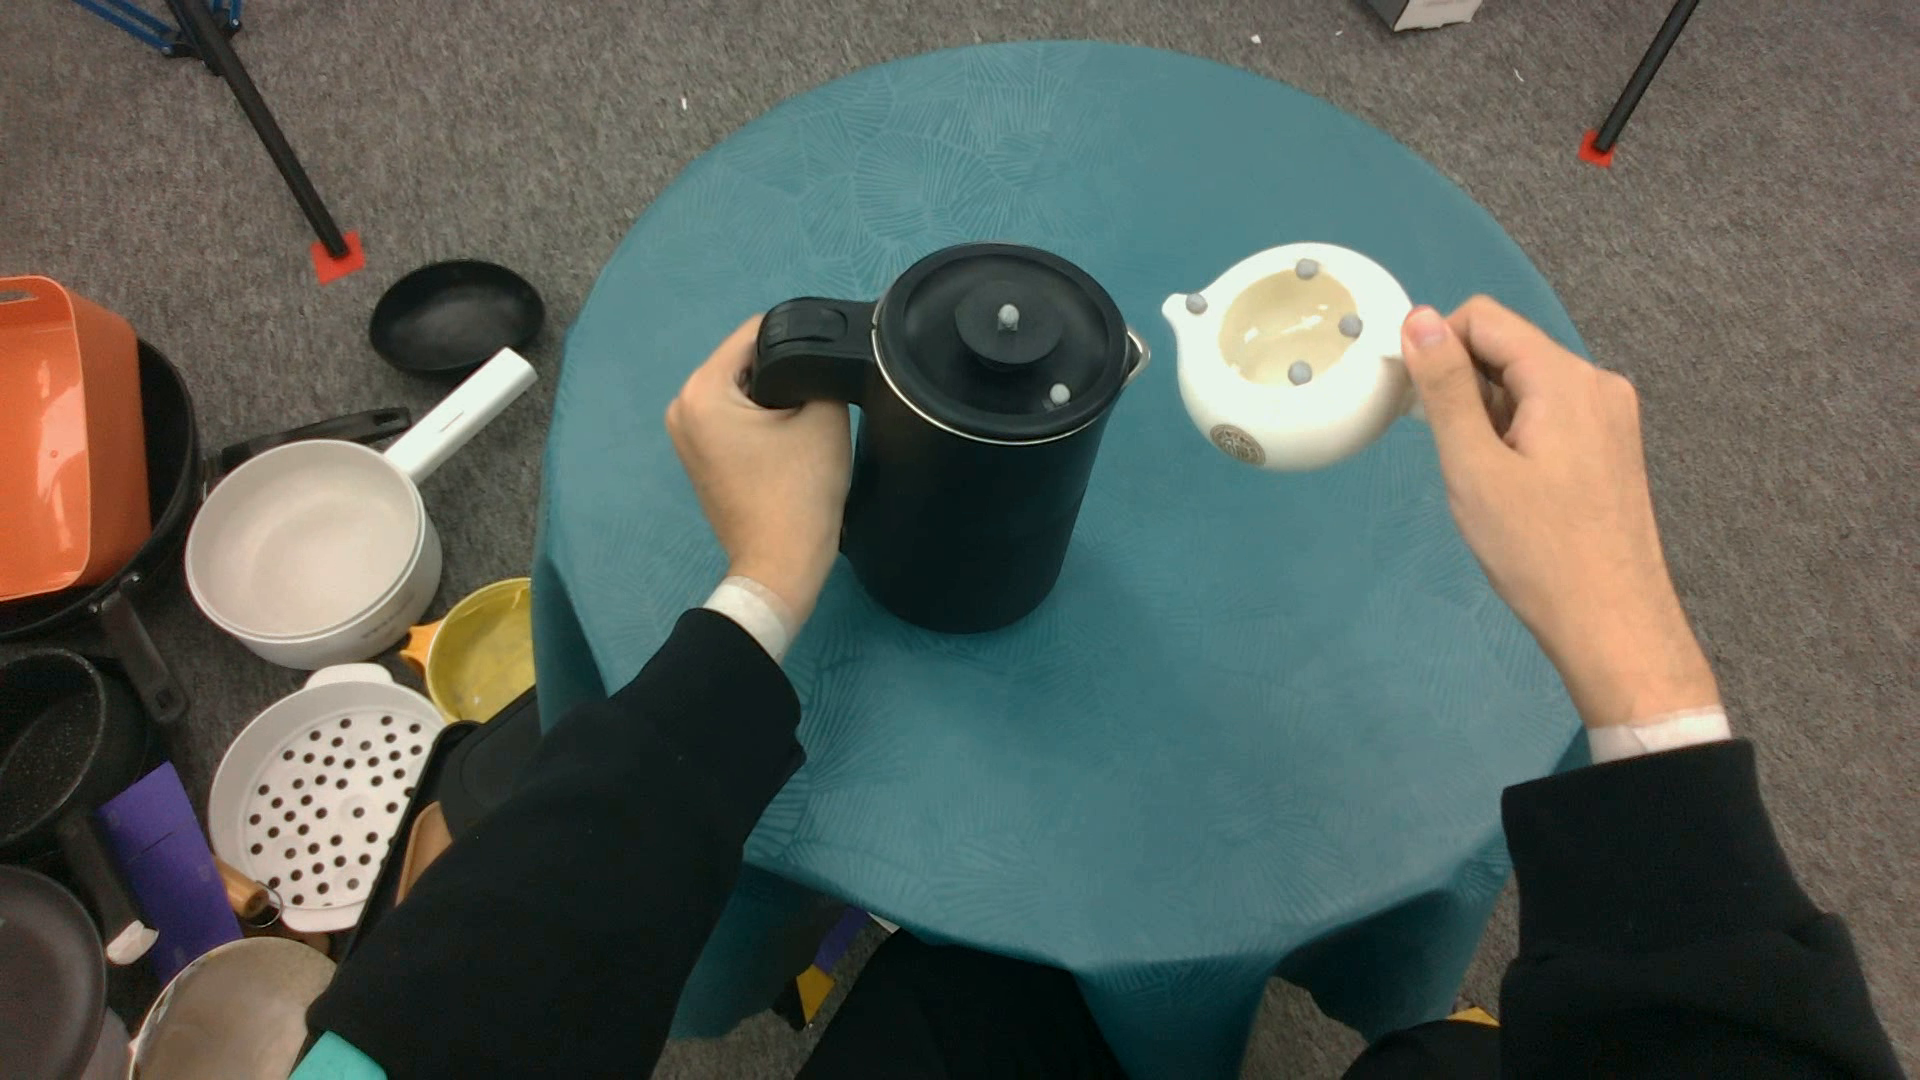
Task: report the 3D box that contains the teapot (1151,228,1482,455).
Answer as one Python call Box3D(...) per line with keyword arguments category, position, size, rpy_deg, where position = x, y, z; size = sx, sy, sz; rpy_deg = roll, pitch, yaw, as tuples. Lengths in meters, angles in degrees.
Box3D(category="teapot", position=(0.139, -0.077, 0.539), size=(0.127, 0.056, 0.094), rpy_deg=(10, 67, 27))

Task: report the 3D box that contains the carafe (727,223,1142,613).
Box3D(category="carafe", position=(-0.019, -0.055, 0.632), size=(0.172, 0.172, 0.115), rpy_deg=(4, 59, -9))
